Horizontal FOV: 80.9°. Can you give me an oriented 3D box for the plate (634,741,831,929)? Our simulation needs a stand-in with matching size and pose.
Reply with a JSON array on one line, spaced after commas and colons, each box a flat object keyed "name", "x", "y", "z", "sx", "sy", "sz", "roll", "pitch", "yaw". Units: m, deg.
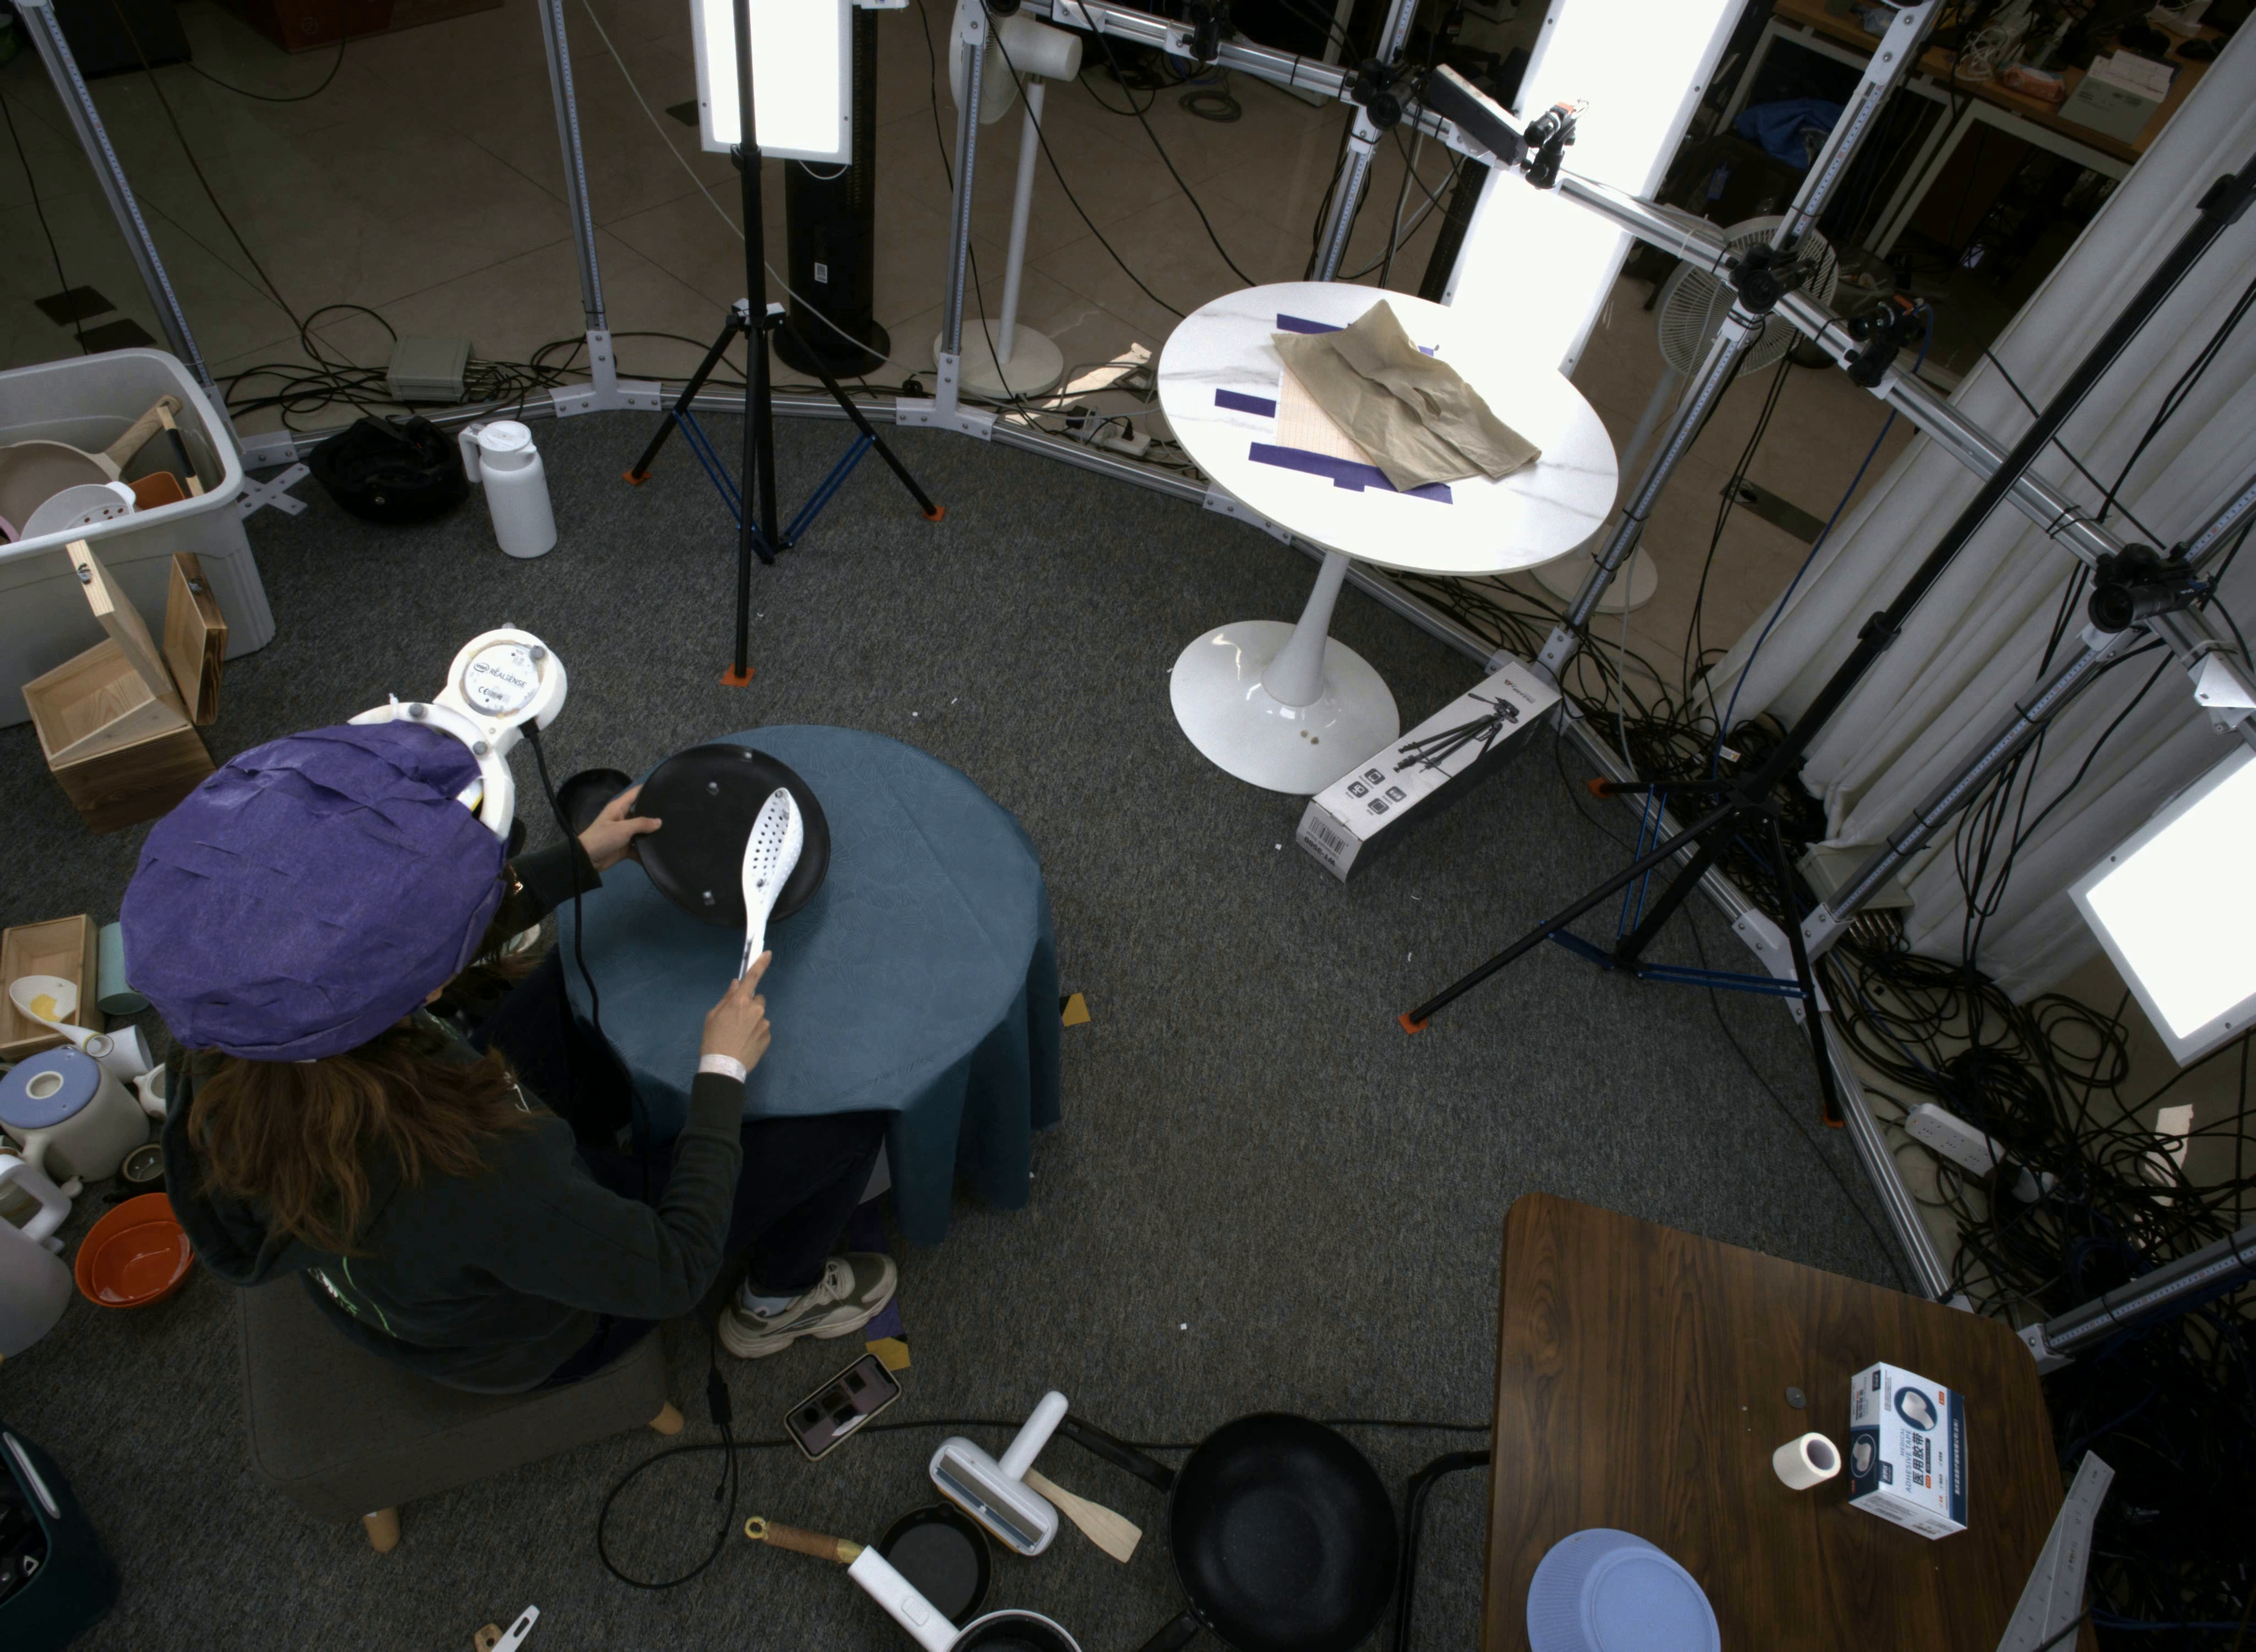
[{"name": "plate", "x": -0.483, "y": 0.011, "z": 1.579, "sx": 0.249, "sy": 0.023, "sz": 0.242, "roll": 17, "pitch": 60, "yaw": -30}]

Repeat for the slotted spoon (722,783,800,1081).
[{"name": "slotted spoon", "x": -0.431, "y": 0.116, "z": 1.494, "sx": 0.047, "sy": 0.134, "sz": 0.347, "roll": 21, "pitch": 62, "yaw": -28}]
